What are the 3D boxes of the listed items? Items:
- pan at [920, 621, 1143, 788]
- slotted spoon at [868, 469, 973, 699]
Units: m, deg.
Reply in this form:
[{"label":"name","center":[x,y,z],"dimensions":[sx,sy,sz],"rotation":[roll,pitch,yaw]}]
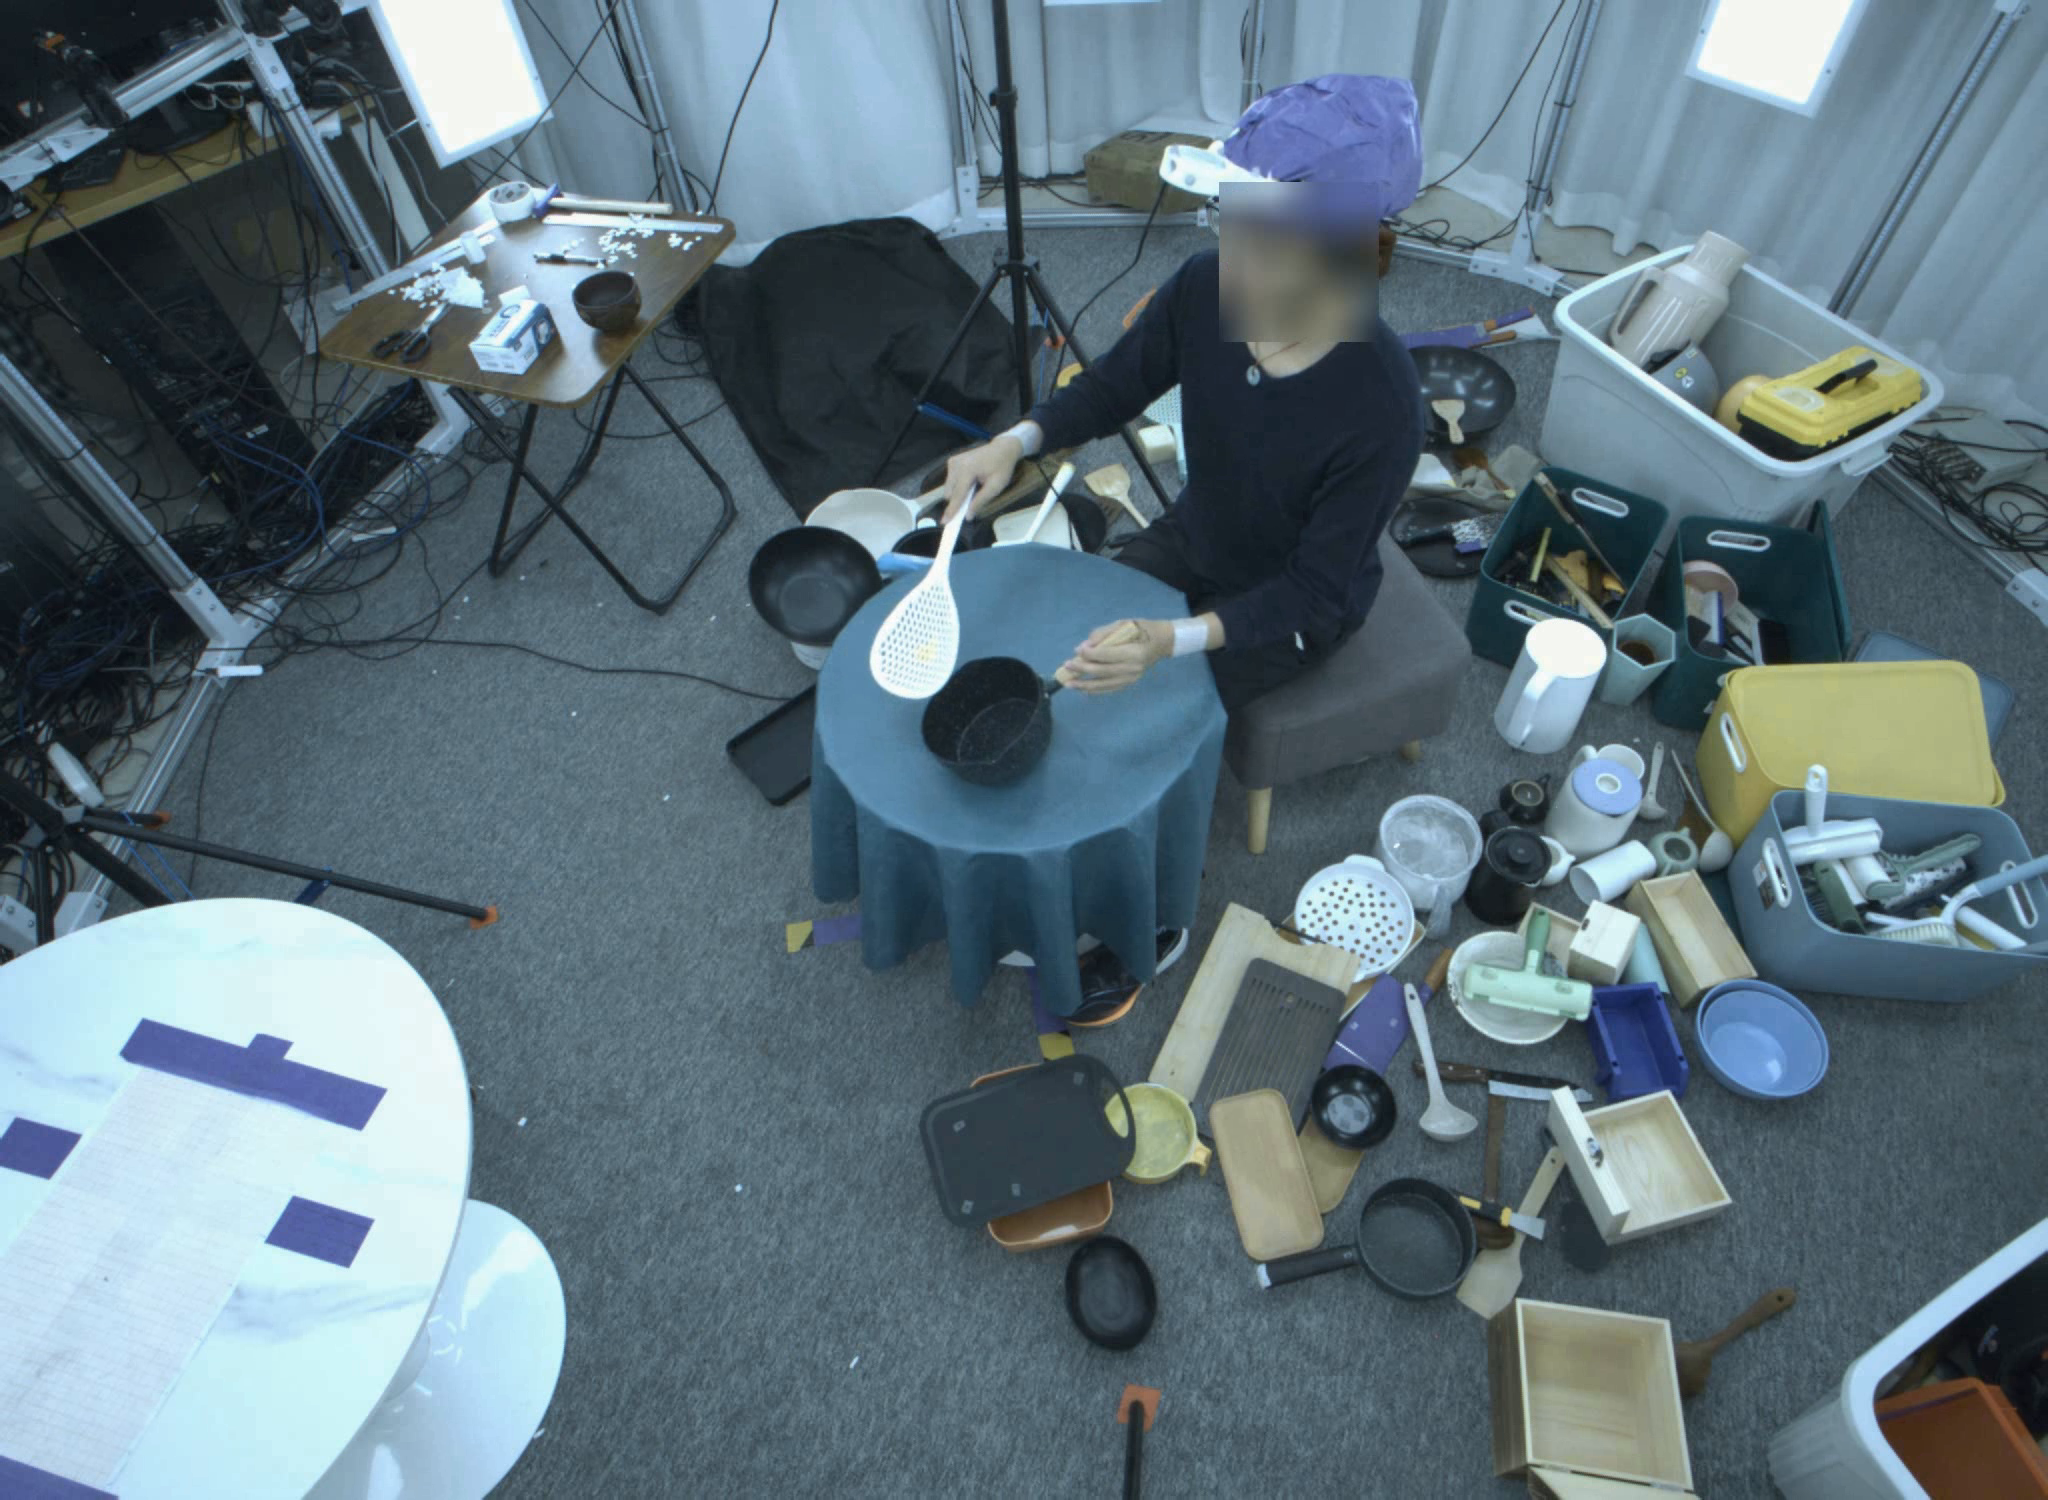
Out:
[{"label":"pan","center":[0.021,-0.073,1.715],"dimensions":[0.341,0.110,0.204],"rotation":[-26,49,9]},{"label":"slotted spoon","center":[-0.124,-0.240,1.740],"dimensions":[0.134,0.051,0.348],"rotation":[14,90,23]}]
